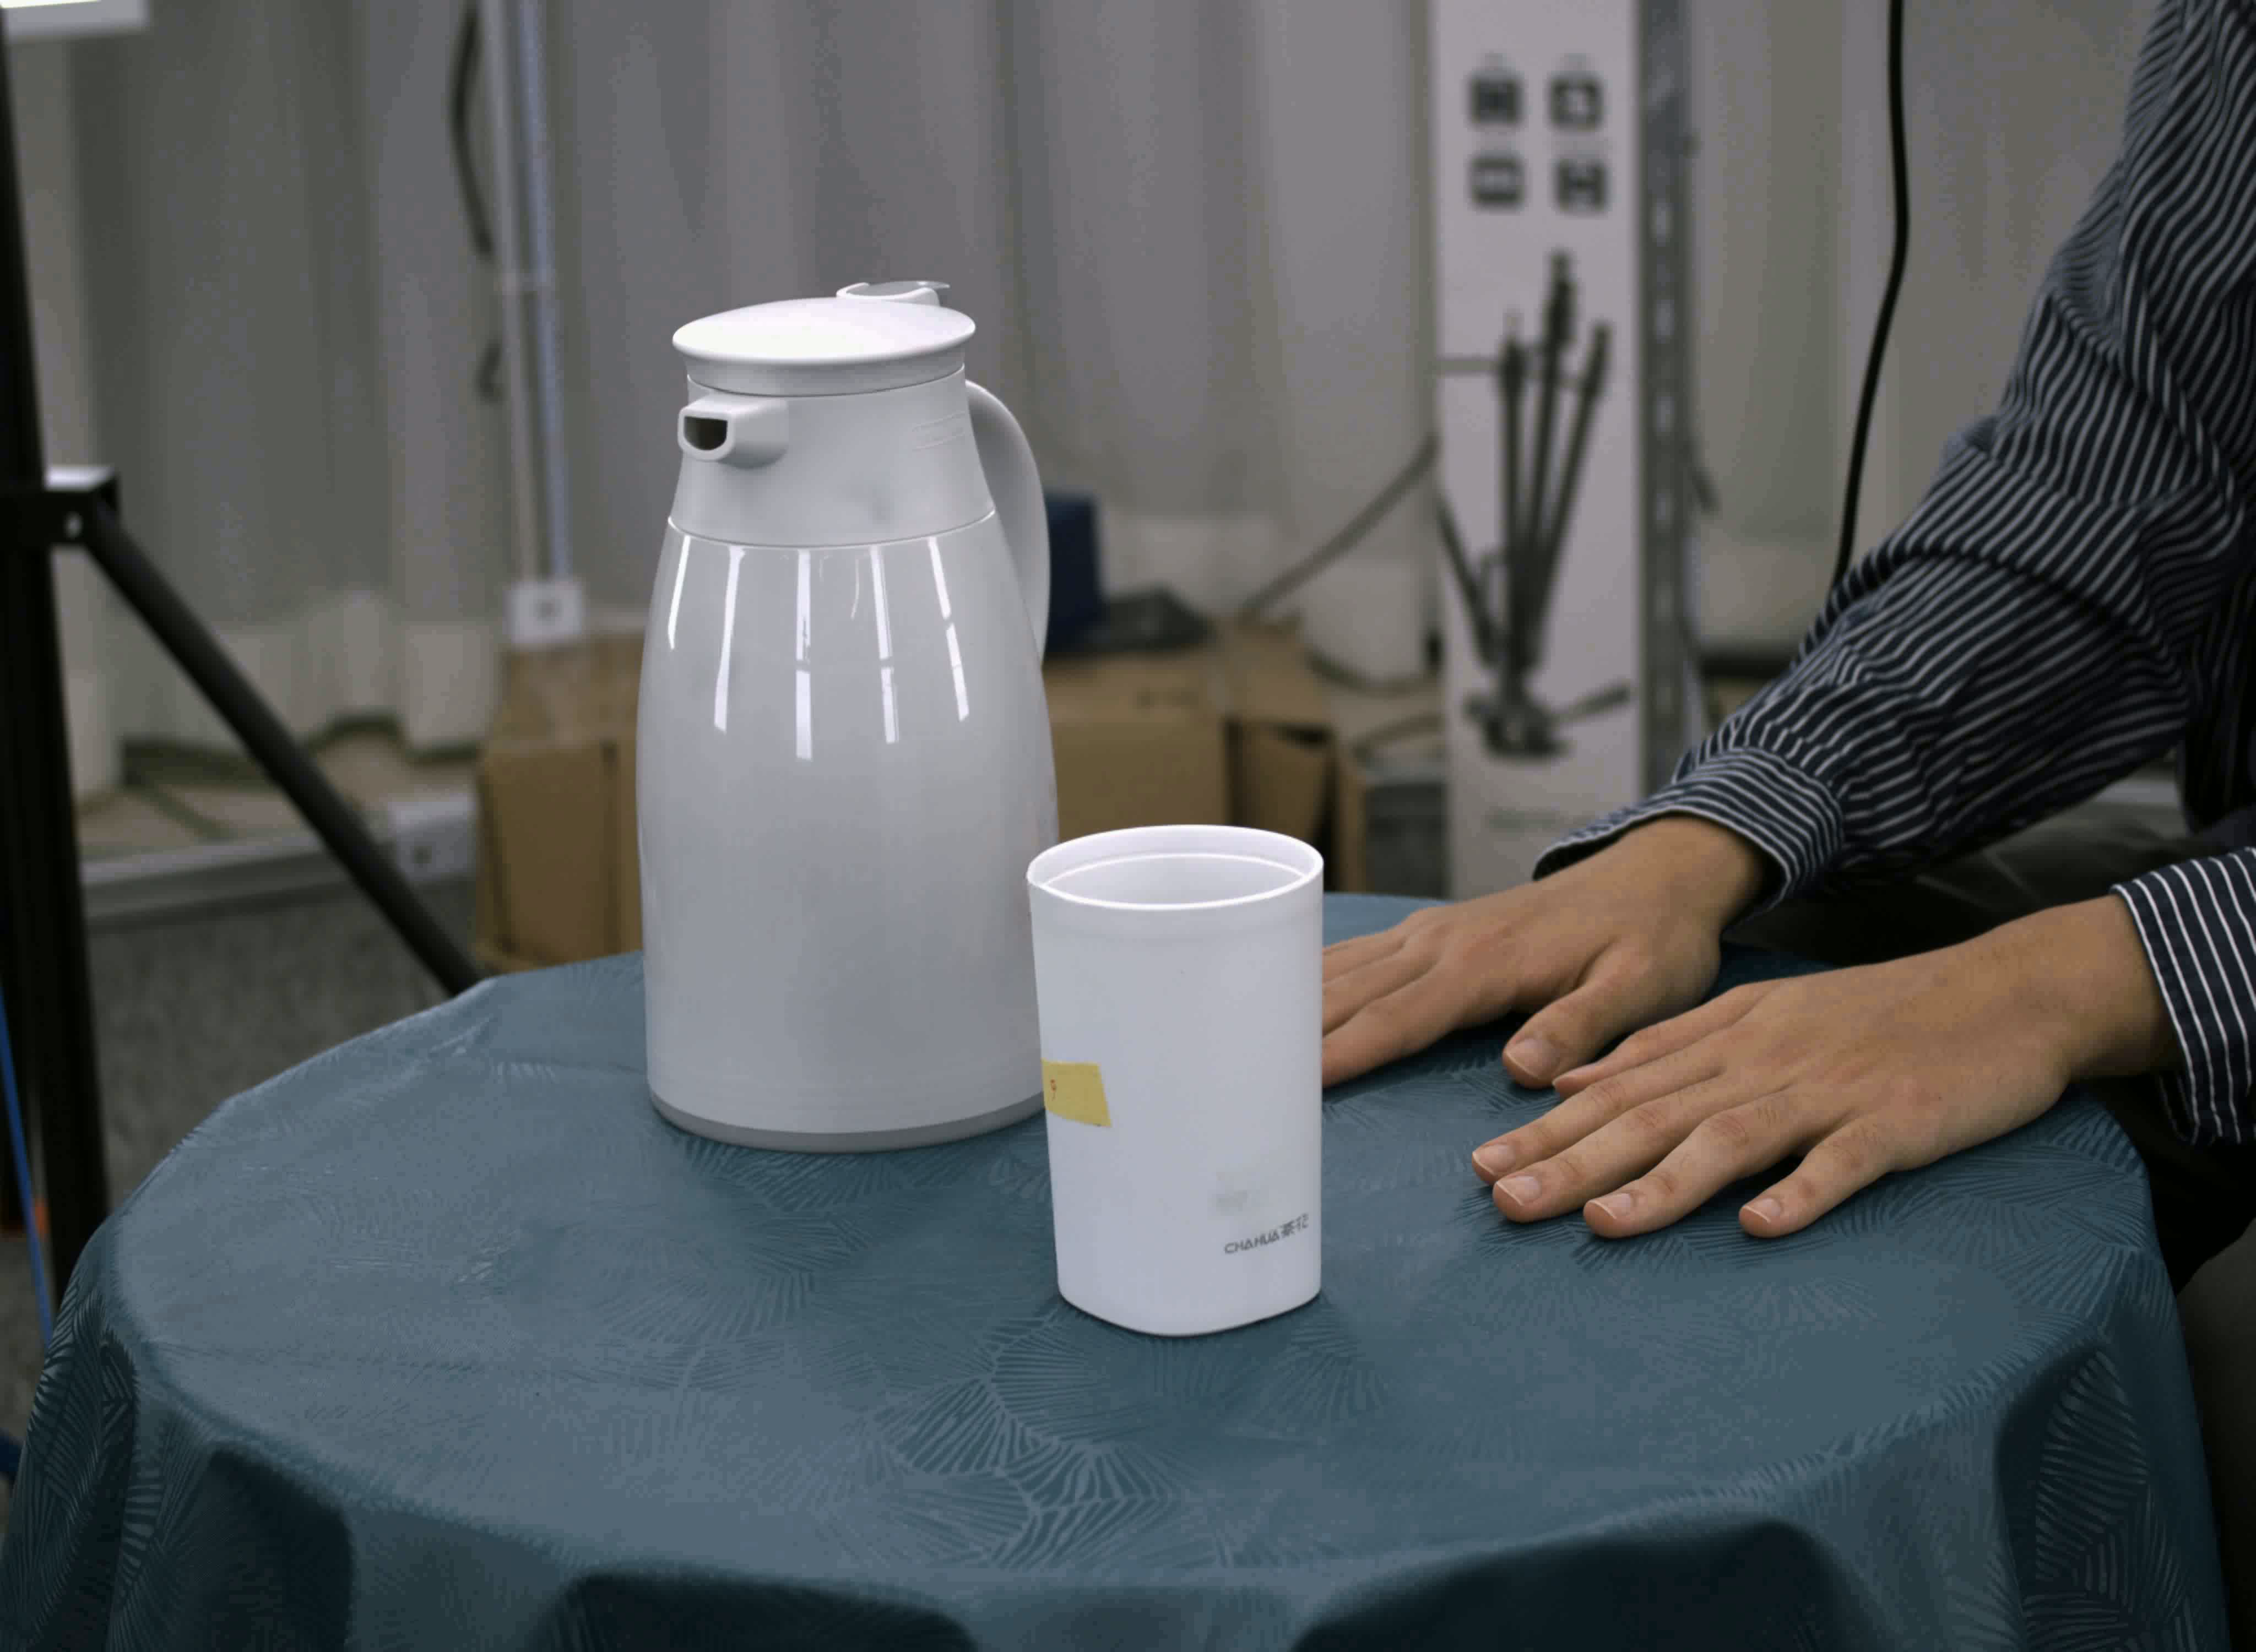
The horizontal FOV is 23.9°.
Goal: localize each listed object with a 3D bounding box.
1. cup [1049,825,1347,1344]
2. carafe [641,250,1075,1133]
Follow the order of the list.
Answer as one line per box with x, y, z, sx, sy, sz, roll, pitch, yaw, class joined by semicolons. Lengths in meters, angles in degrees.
0.021;0.071;1.453;0.081;0.125;0.082;-2;15;-1;cup
-0.080;-0.050;1.658;0.134;0.248;0.165;4;18;27;carafe
